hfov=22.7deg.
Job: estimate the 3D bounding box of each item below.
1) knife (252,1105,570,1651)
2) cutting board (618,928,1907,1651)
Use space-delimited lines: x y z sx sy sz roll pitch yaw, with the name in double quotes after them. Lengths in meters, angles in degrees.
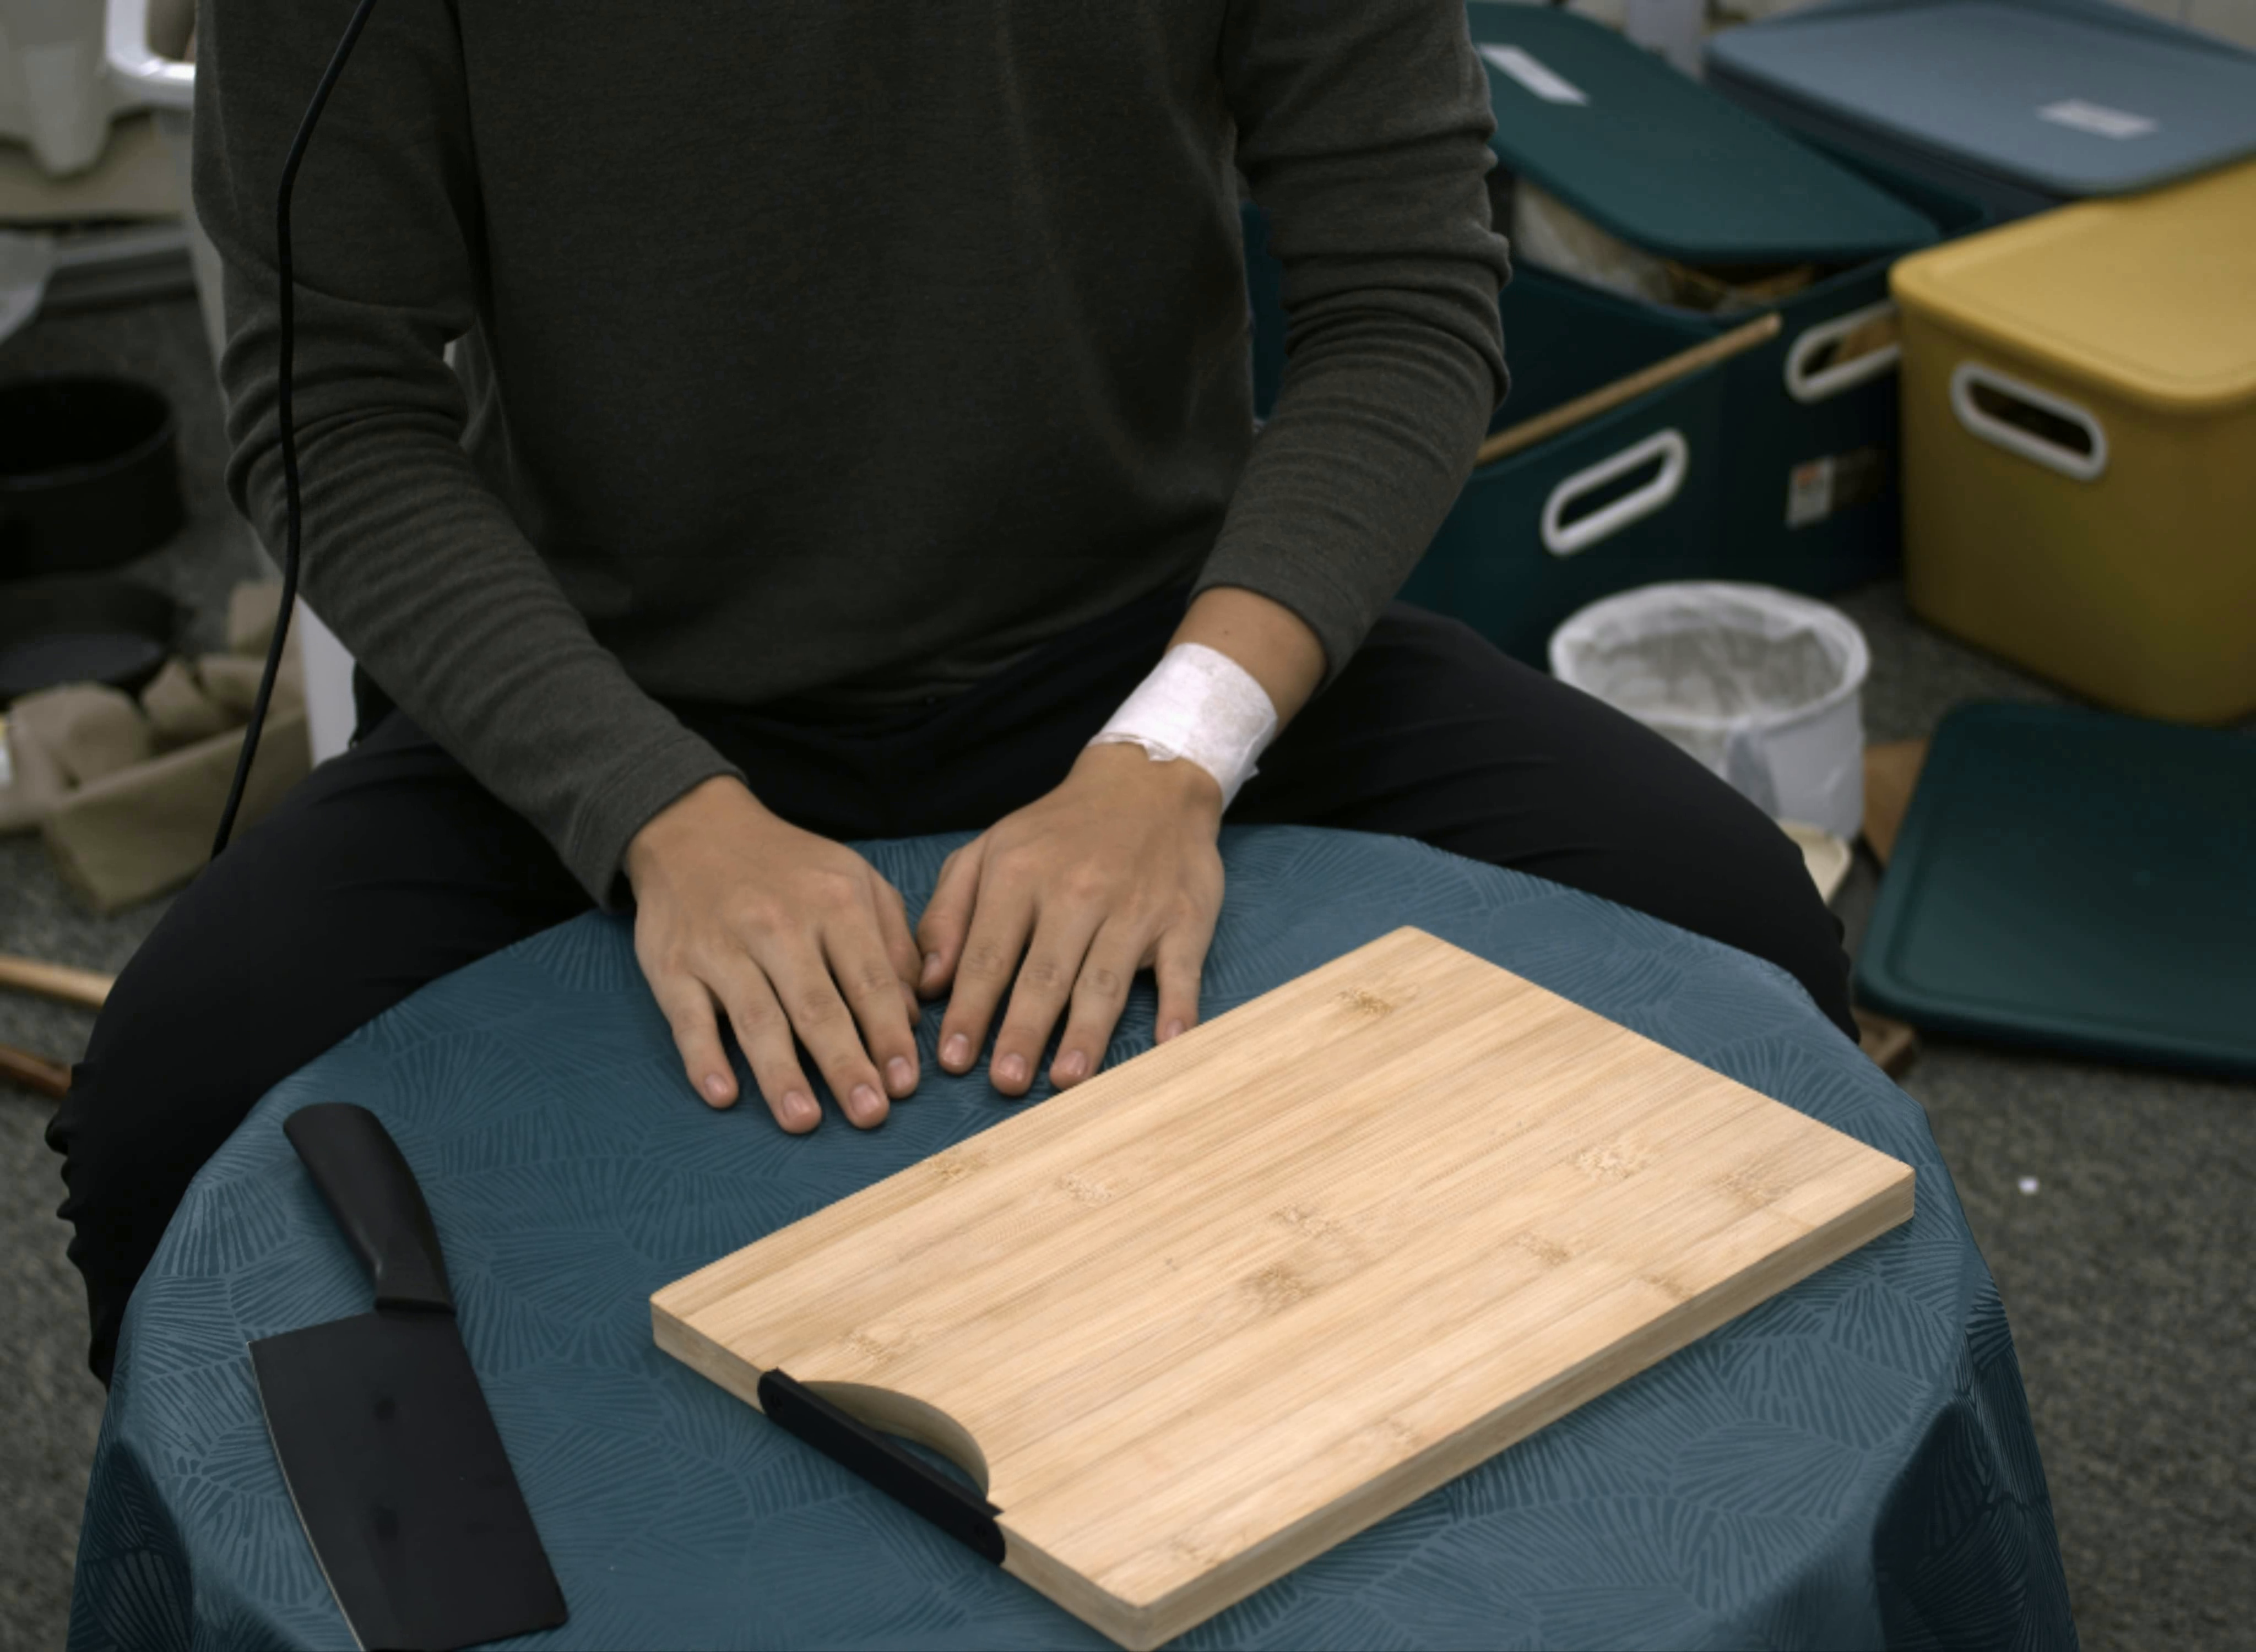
-0.237 0.172 1.772 0.081 0.020 0.306 -9 30 -11 "knife"
0.047 0.141 1.803 0.352 0.023 0.250 -25 34 -36 "cutting board"
